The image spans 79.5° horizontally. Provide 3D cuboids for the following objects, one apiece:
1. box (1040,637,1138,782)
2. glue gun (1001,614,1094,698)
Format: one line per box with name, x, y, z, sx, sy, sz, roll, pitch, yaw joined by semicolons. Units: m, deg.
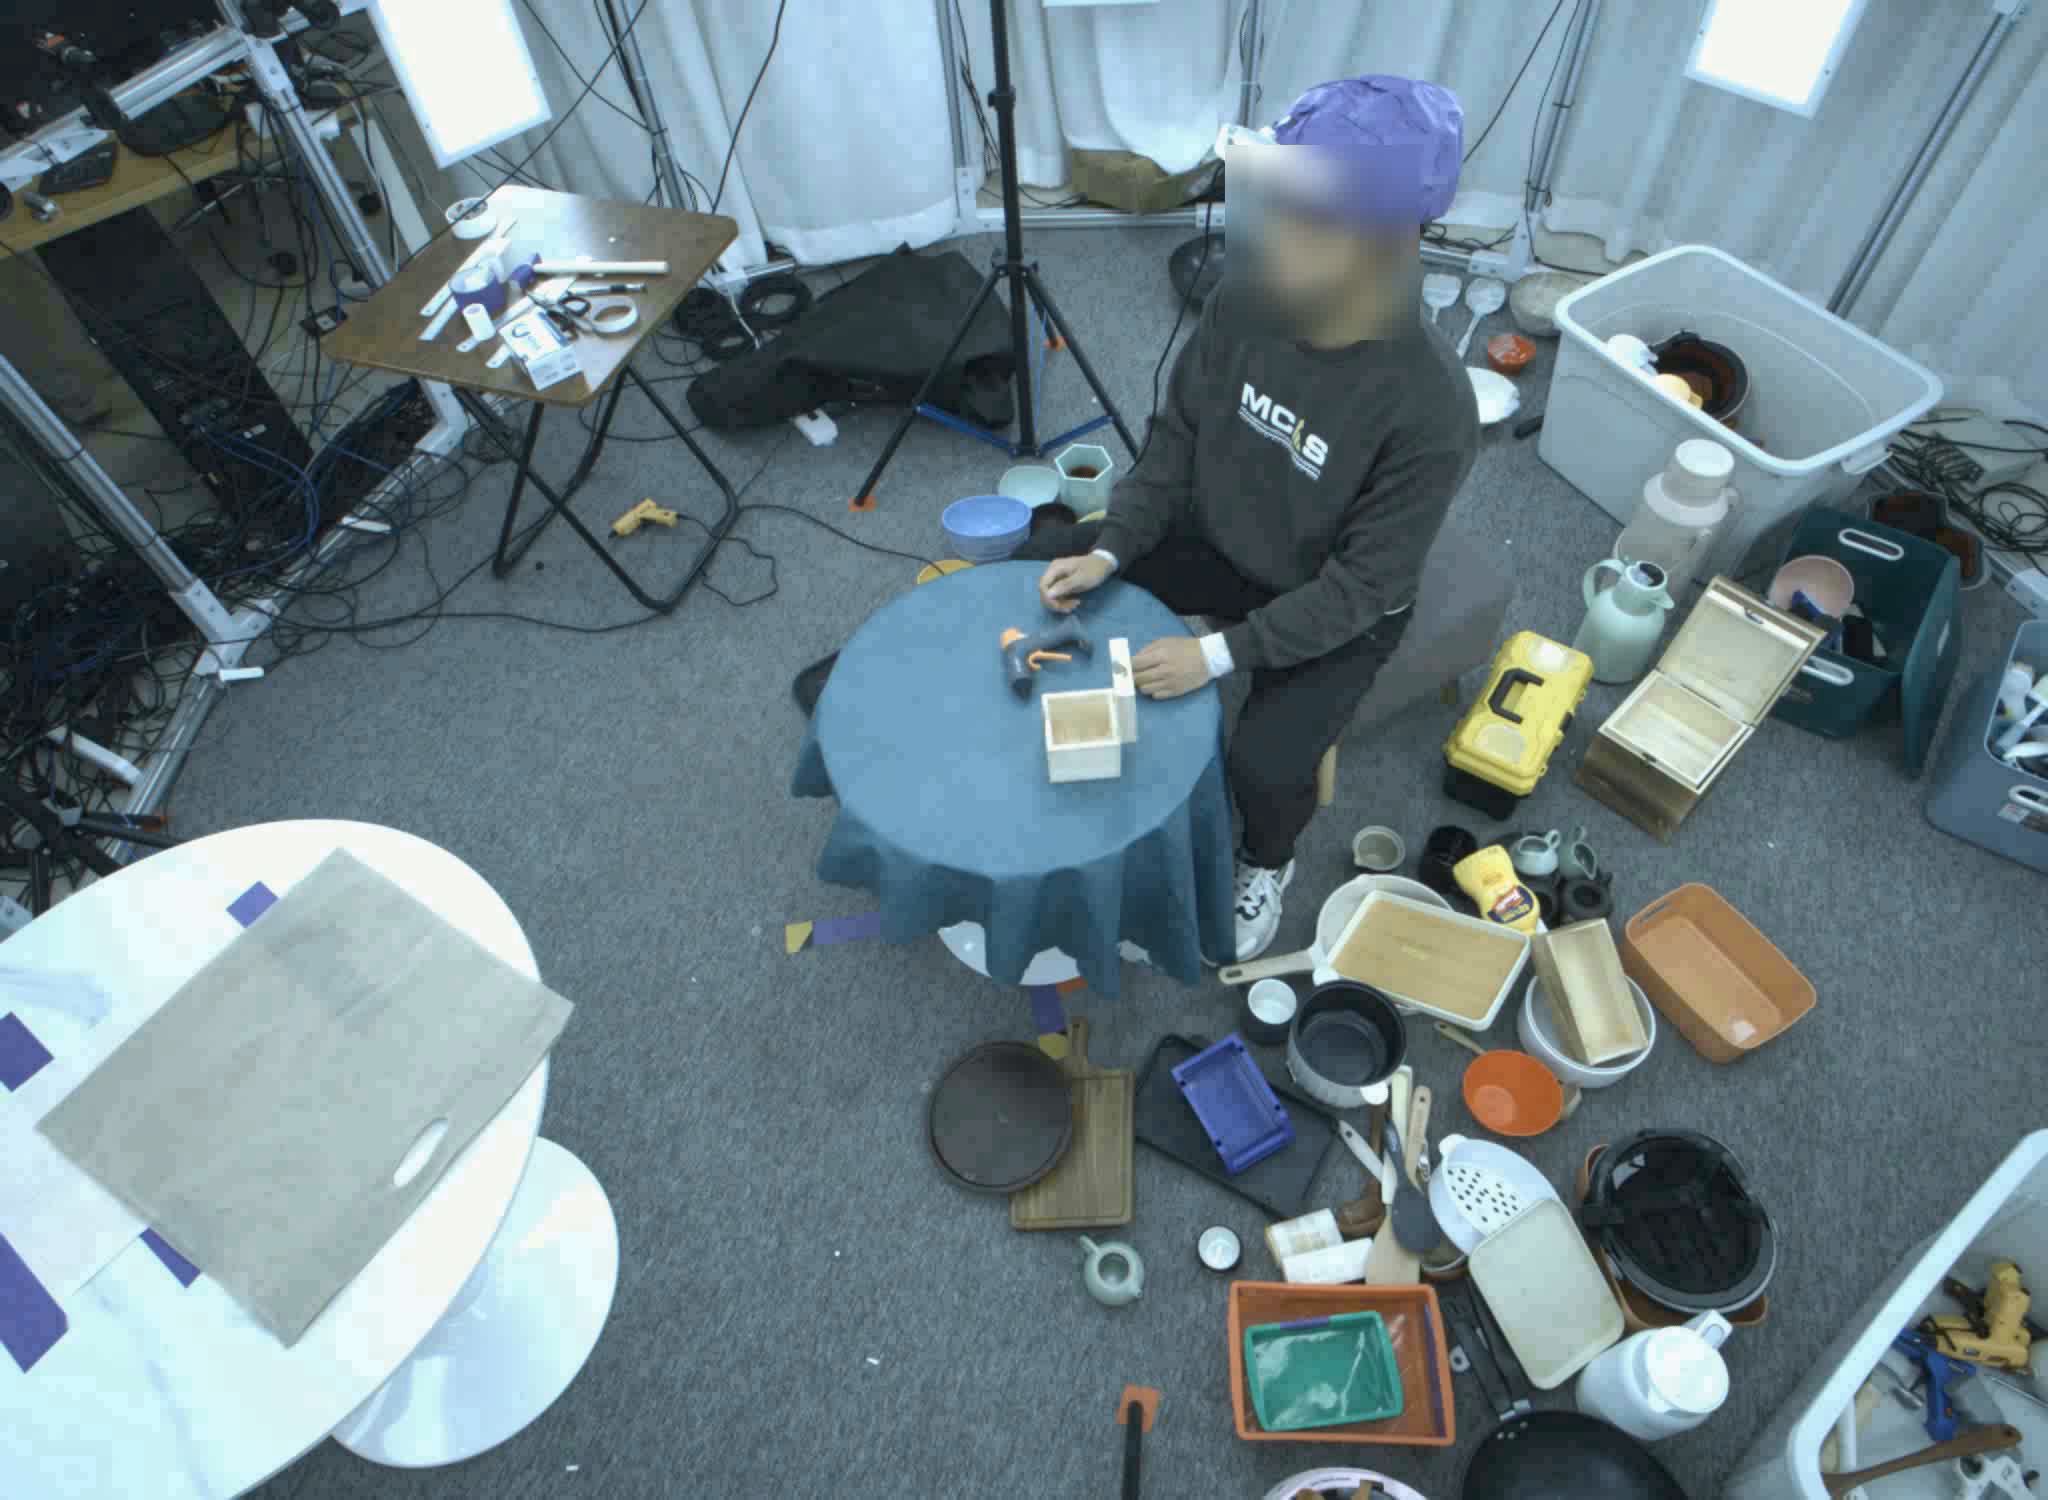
box;0.087;-0.054;1.706;0.134;0.186;0.101;-8;55;-1
glue gun;0.031;-0.145;1.869;0.141;0.041;0.116;-25;59;-12
